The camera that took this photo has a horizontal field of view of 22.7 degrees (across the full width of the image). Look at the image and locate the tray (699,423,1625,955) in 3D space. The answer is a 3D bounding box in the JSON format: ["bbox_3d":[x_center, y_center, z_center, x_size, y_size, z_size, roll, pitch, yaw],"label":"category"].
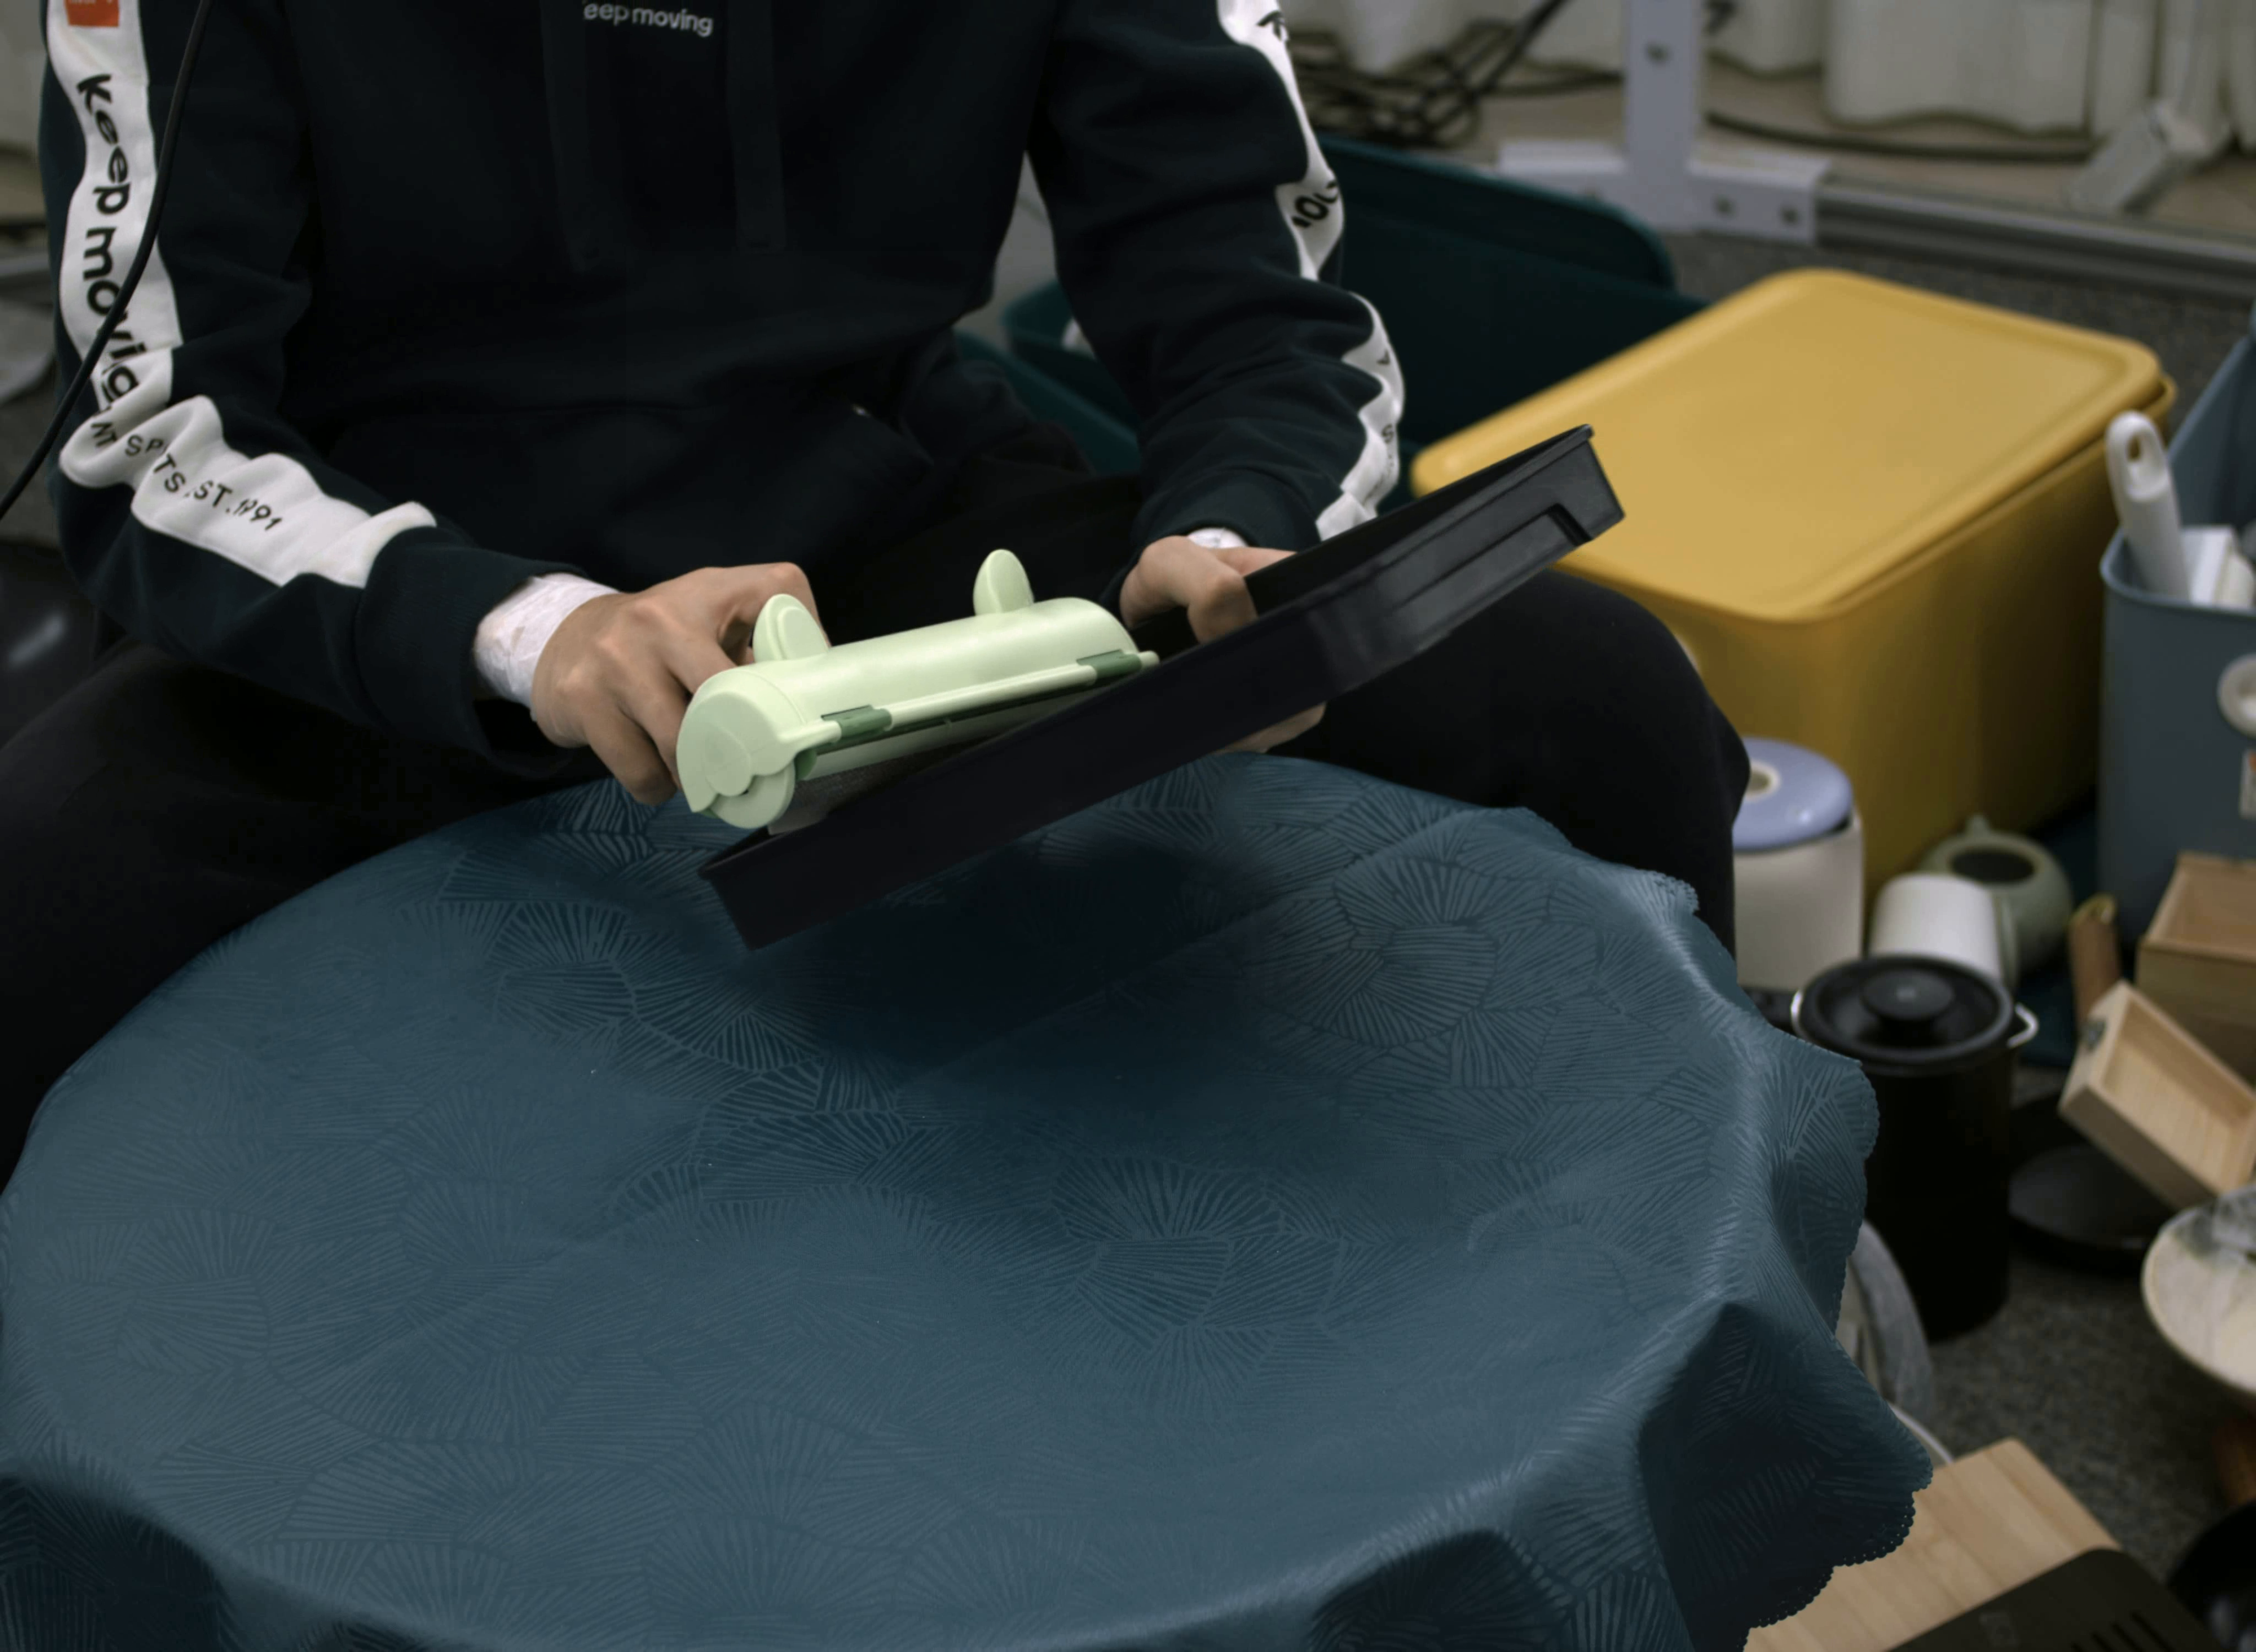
[{"bbox_3d":[0.010,-0.045,1.930,0.313,0.037,0.187,-23,7,38],"label":"tray"}]

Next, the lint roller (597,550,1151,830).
[{"bbox_3d":[-0.117,-0.055,1.968,0.182,0.082,0.200,11,16,36],"label":"lint roller"}]
